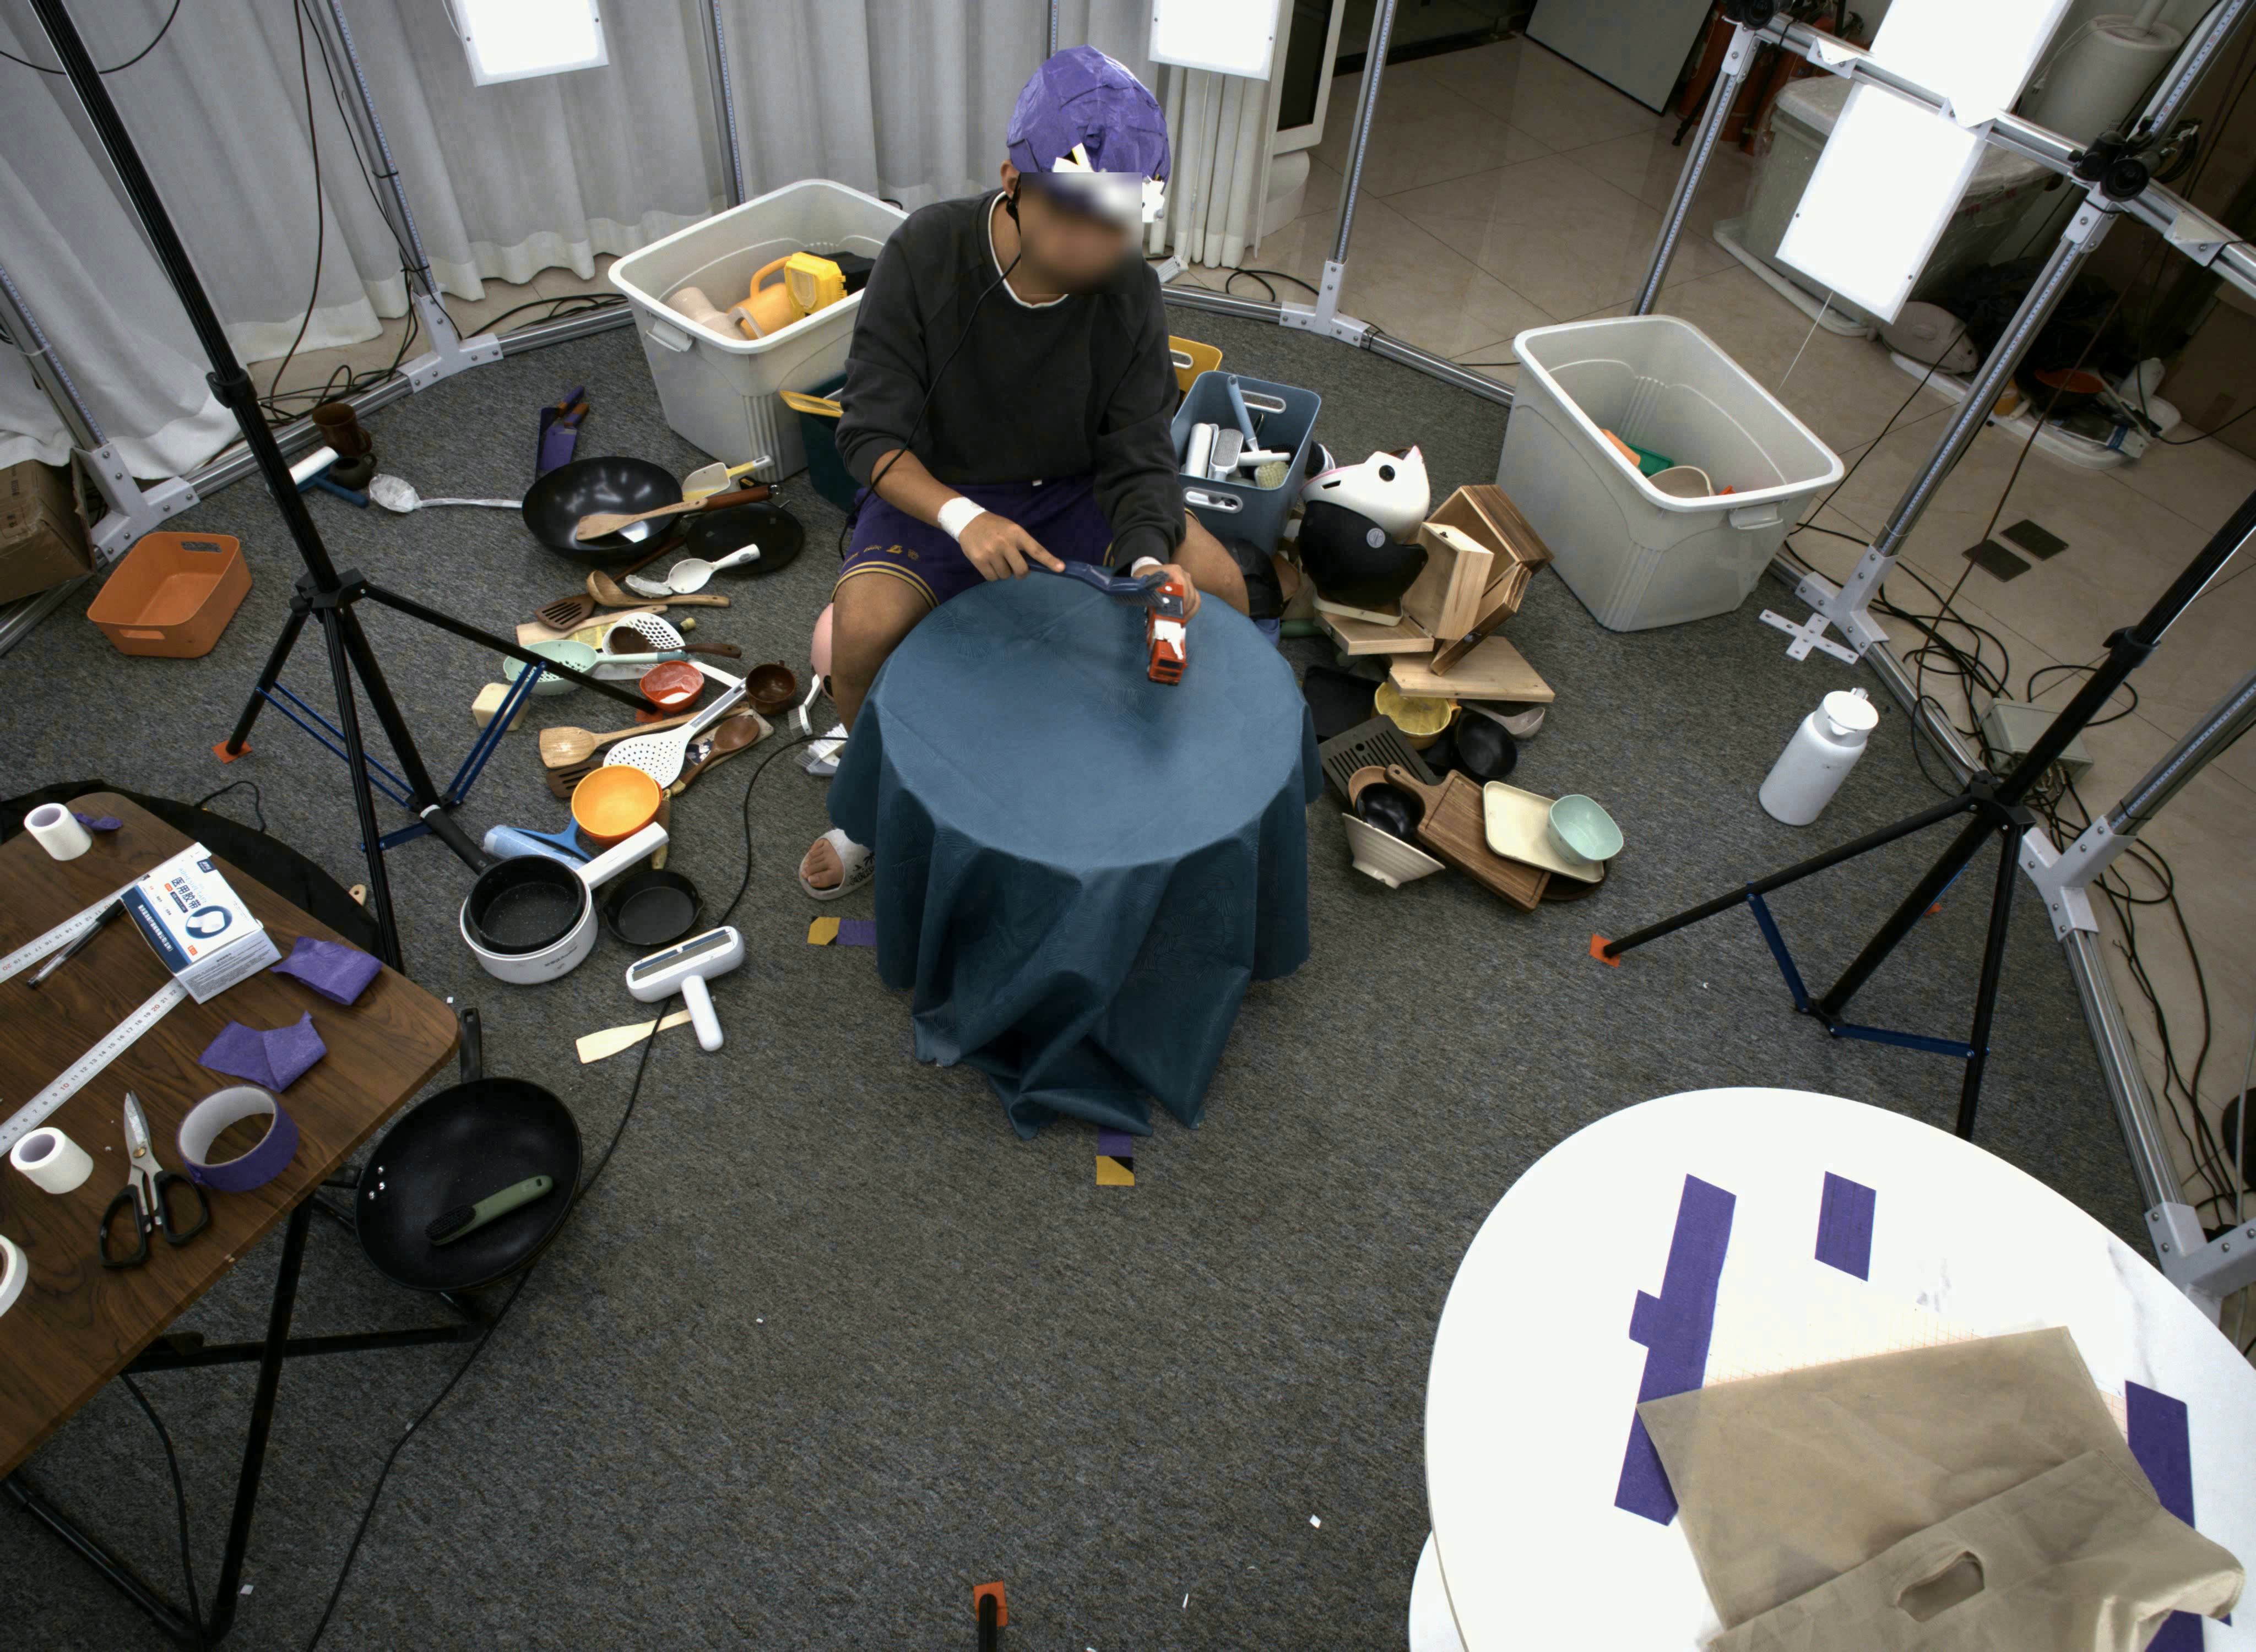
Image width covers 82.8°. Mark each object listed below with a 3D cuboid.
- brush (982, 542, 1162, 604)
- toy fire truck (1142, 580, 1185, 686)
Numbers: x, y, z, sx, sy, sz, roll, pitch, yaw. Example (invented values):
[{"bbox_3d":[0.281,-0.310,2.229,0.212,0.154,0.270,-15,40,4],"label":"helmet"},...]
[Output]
[{"bbox_3d":[-0.078,-0.359,1.776,0.274,0.094,0.034,19,70,13],"label":"brush"},{"bbox_3d":[0.050,-0.269,1.778,0.054,0.069,0.172,9,50,-13],"label":"toy fire truck"}]
